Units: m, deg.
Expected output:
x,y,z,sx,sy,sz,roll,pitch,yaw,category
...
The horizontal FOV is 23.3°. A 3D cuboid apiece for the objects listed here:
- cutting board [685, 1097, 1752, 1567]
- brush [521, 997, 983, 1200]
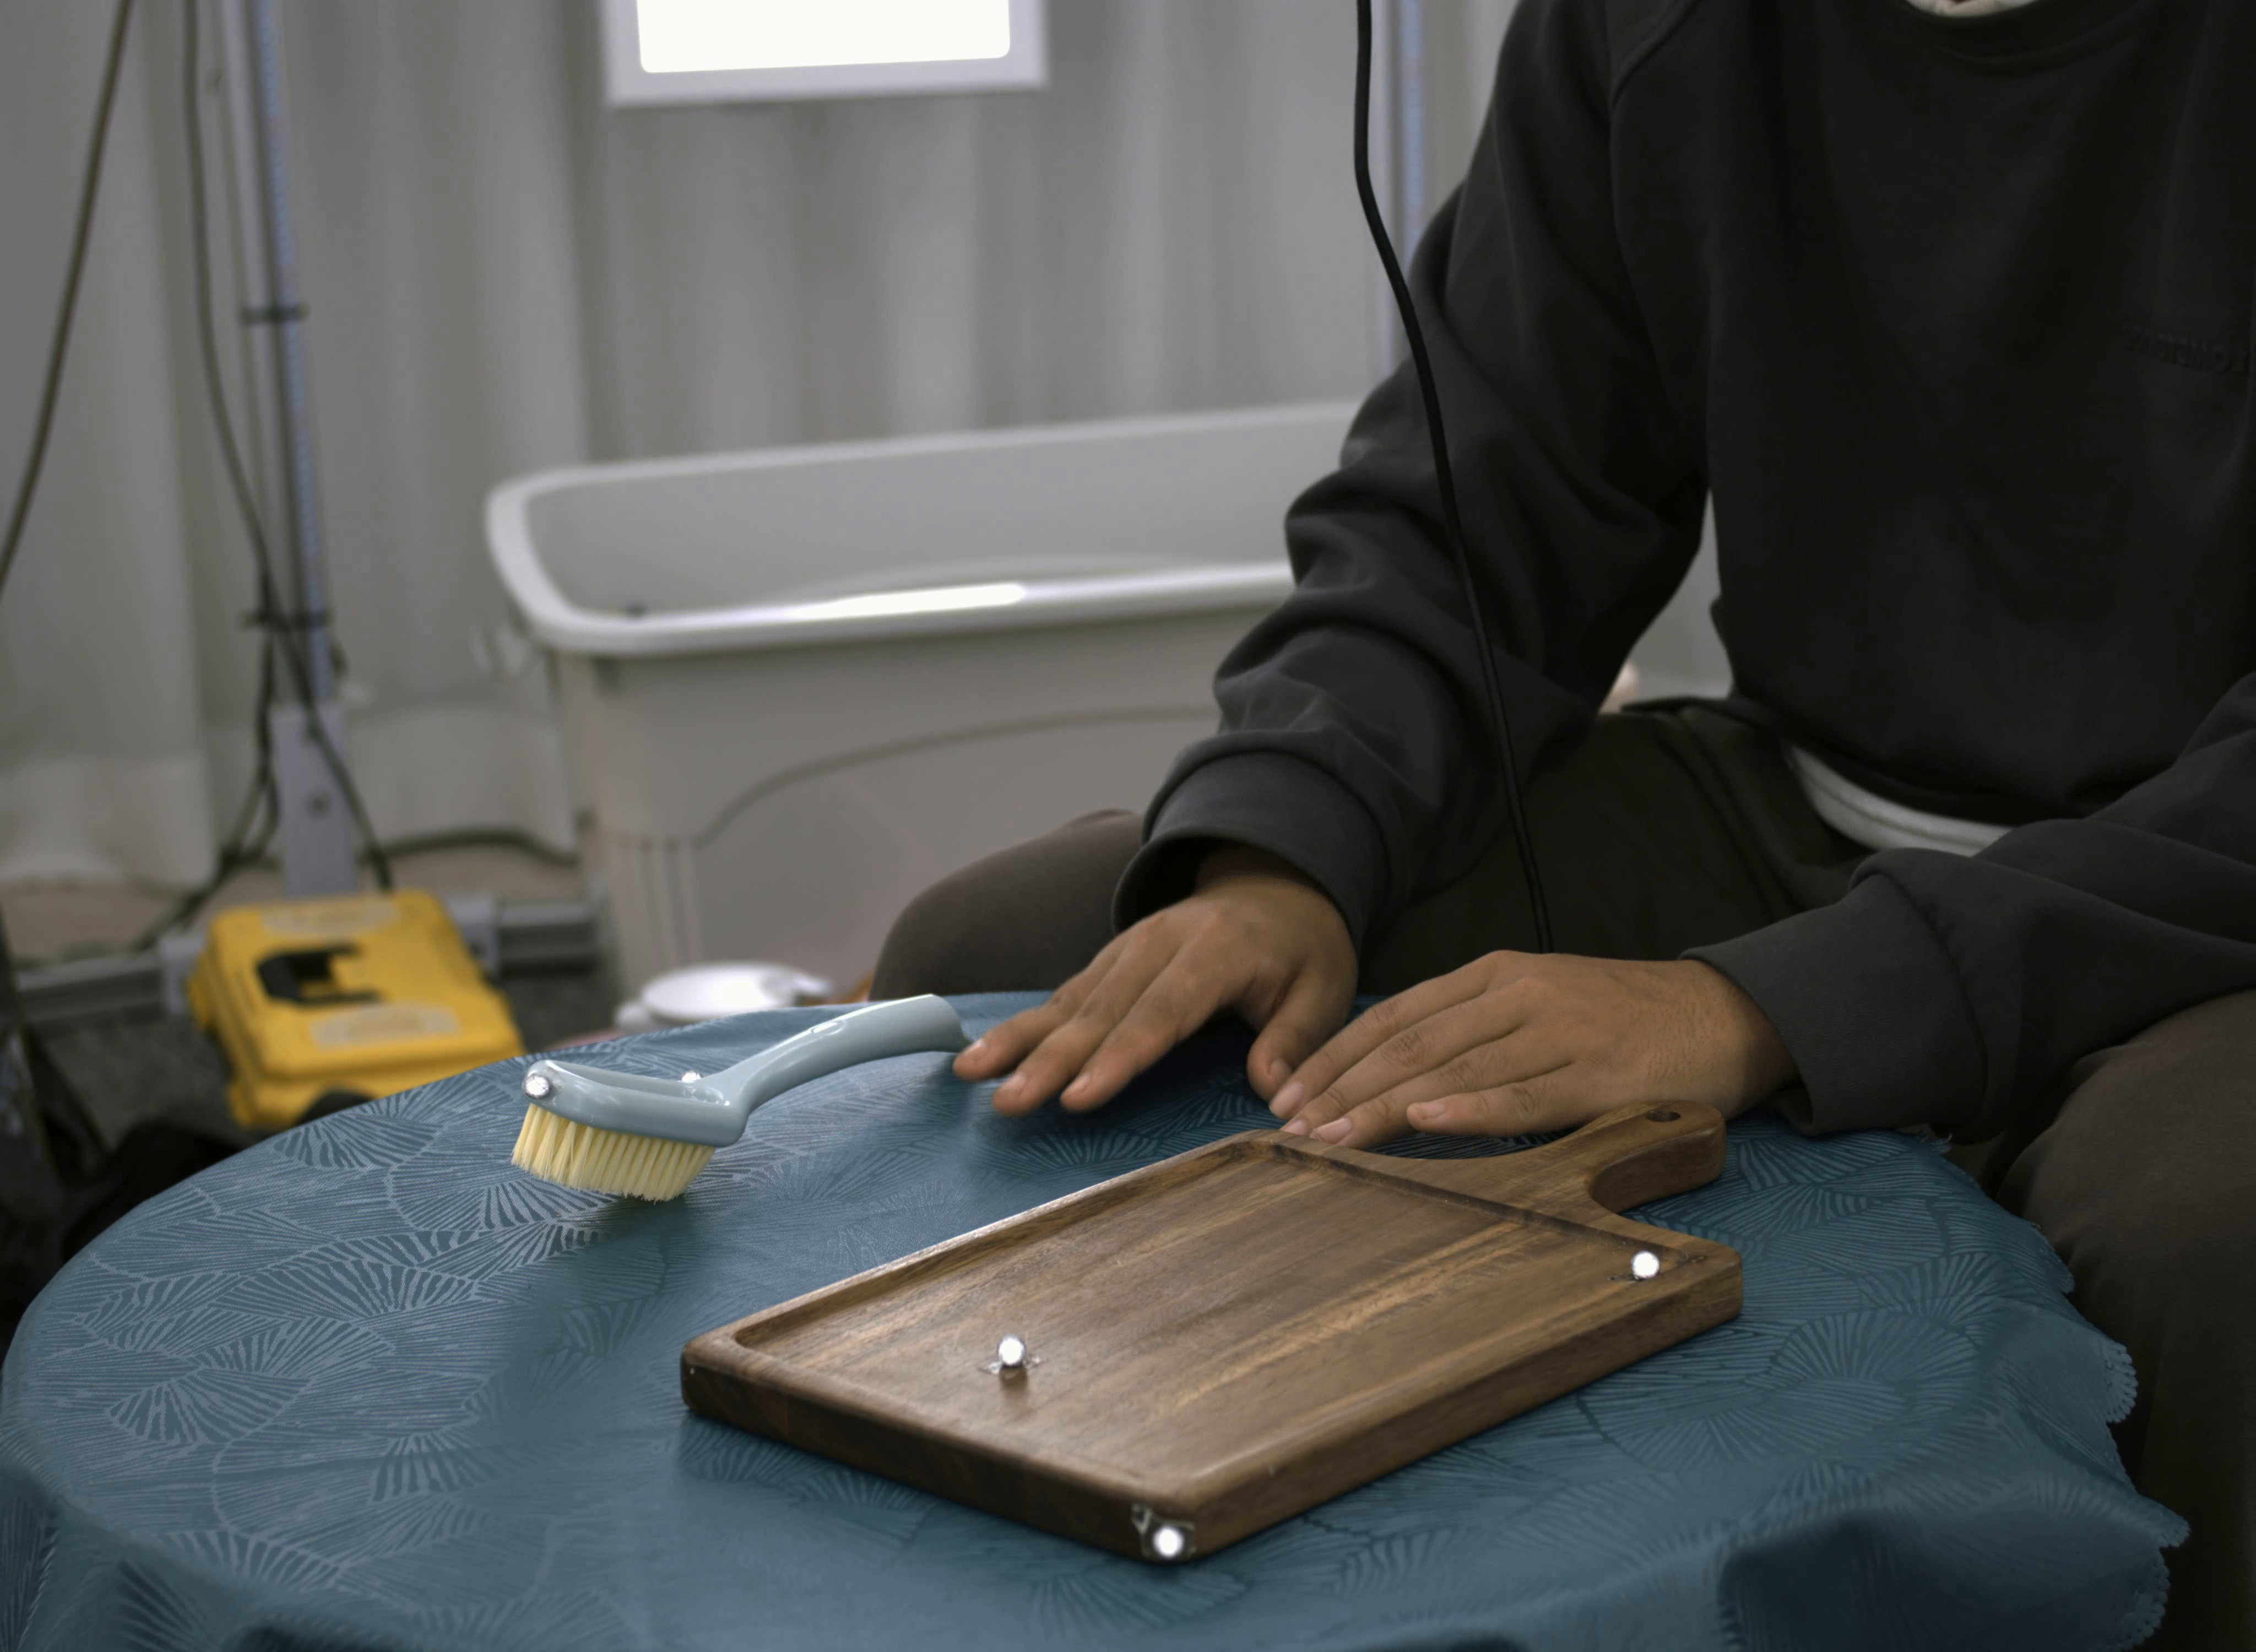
x,y,z,sx,sy,sz,roll,pitch,yaw,category
0.062,0.133,1.597,0.202,0.023,0.351,12,21,43,cutting board
-0.119,0.088,1.775,0.038,0.049,0.228,20,17,29,brush
